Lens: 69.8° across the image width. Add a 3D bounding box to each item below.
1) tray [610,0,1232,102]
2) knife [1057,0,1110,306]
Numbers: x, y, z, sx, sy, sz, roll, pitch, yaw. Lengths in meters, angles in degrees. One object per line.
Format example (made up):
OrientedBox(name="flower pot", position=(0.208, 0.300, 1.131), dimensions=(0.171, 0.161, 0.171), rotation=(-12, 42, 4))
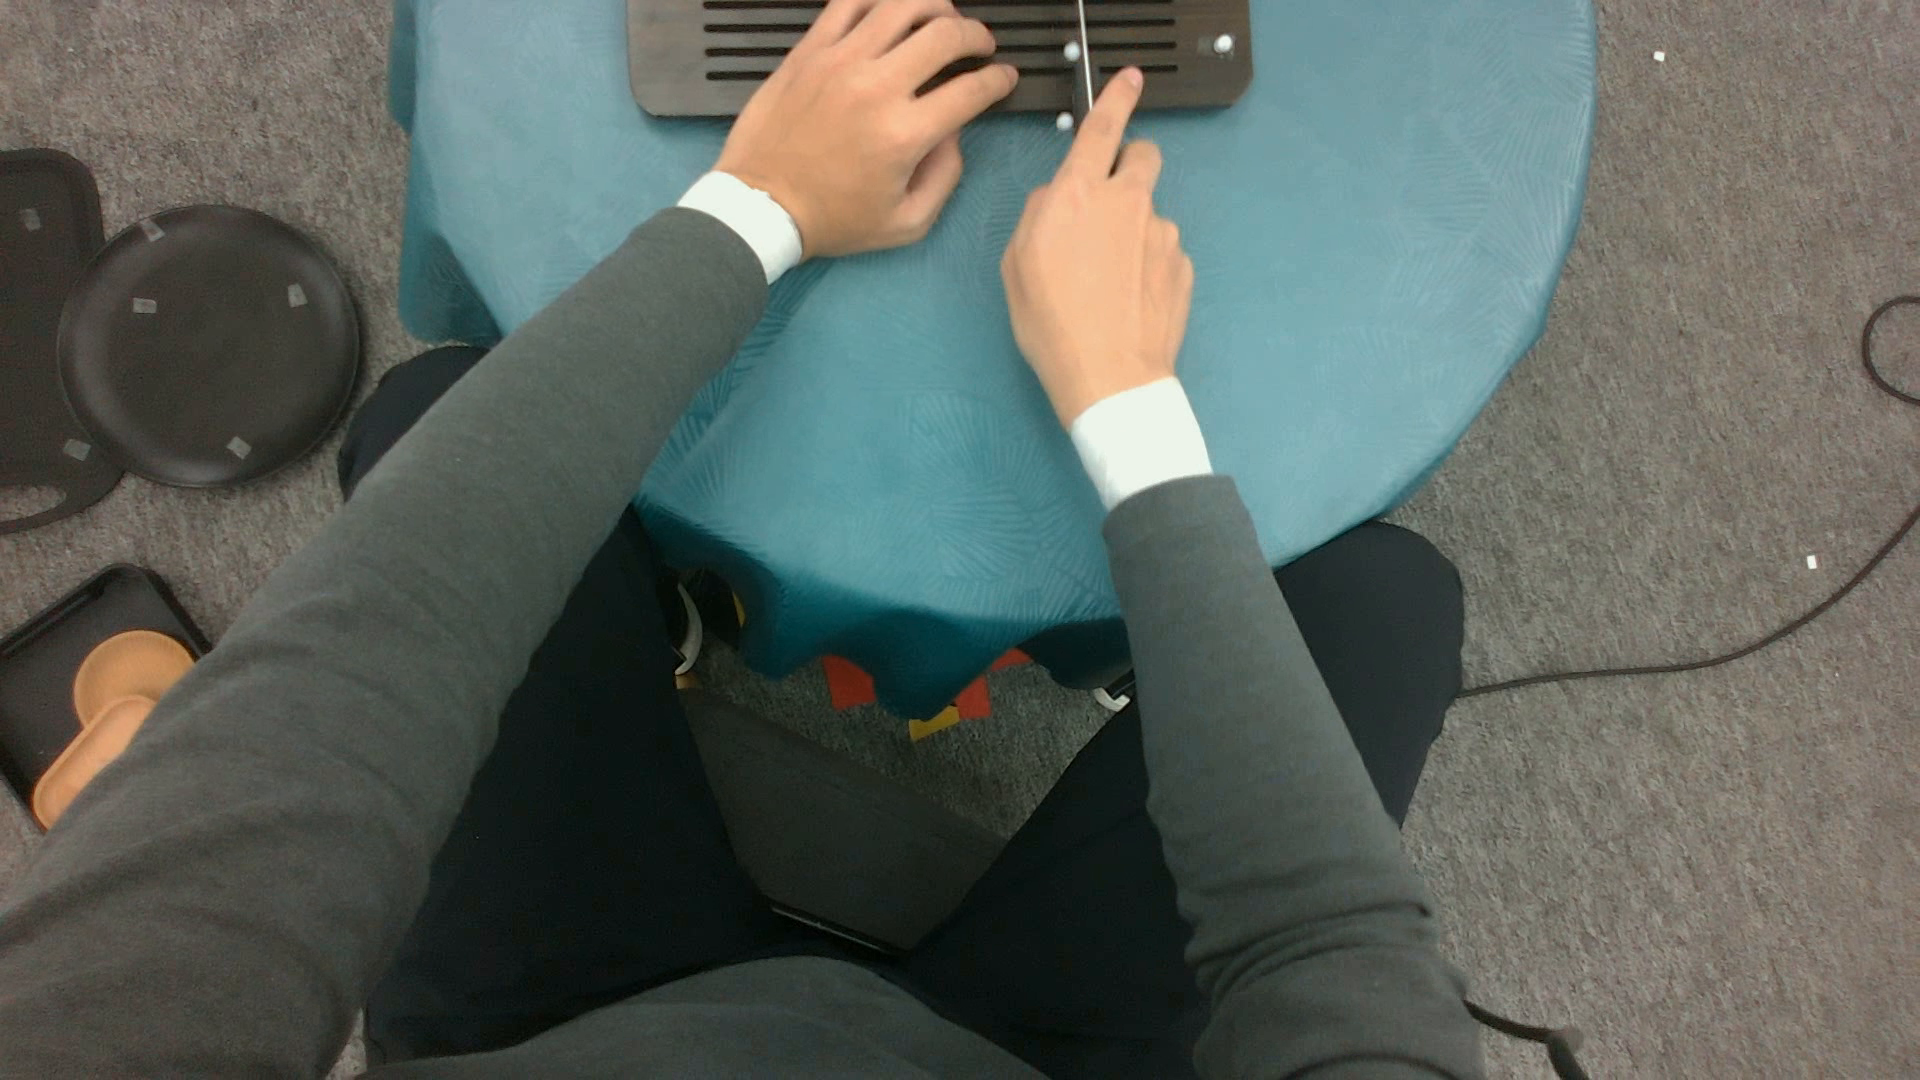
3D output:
OrientedBox(name="tray", position=(-0.019, -0.303, 0.685), dimensions=(0.306, 0.018, 0.170), rotation=(-3, 86, -6))
OrientedBox(name="knife", position=(0.053, -0.228, 0.662), dimensions=(0.016, 0.024, 0.238), rotation=(-6, 80, 0))
